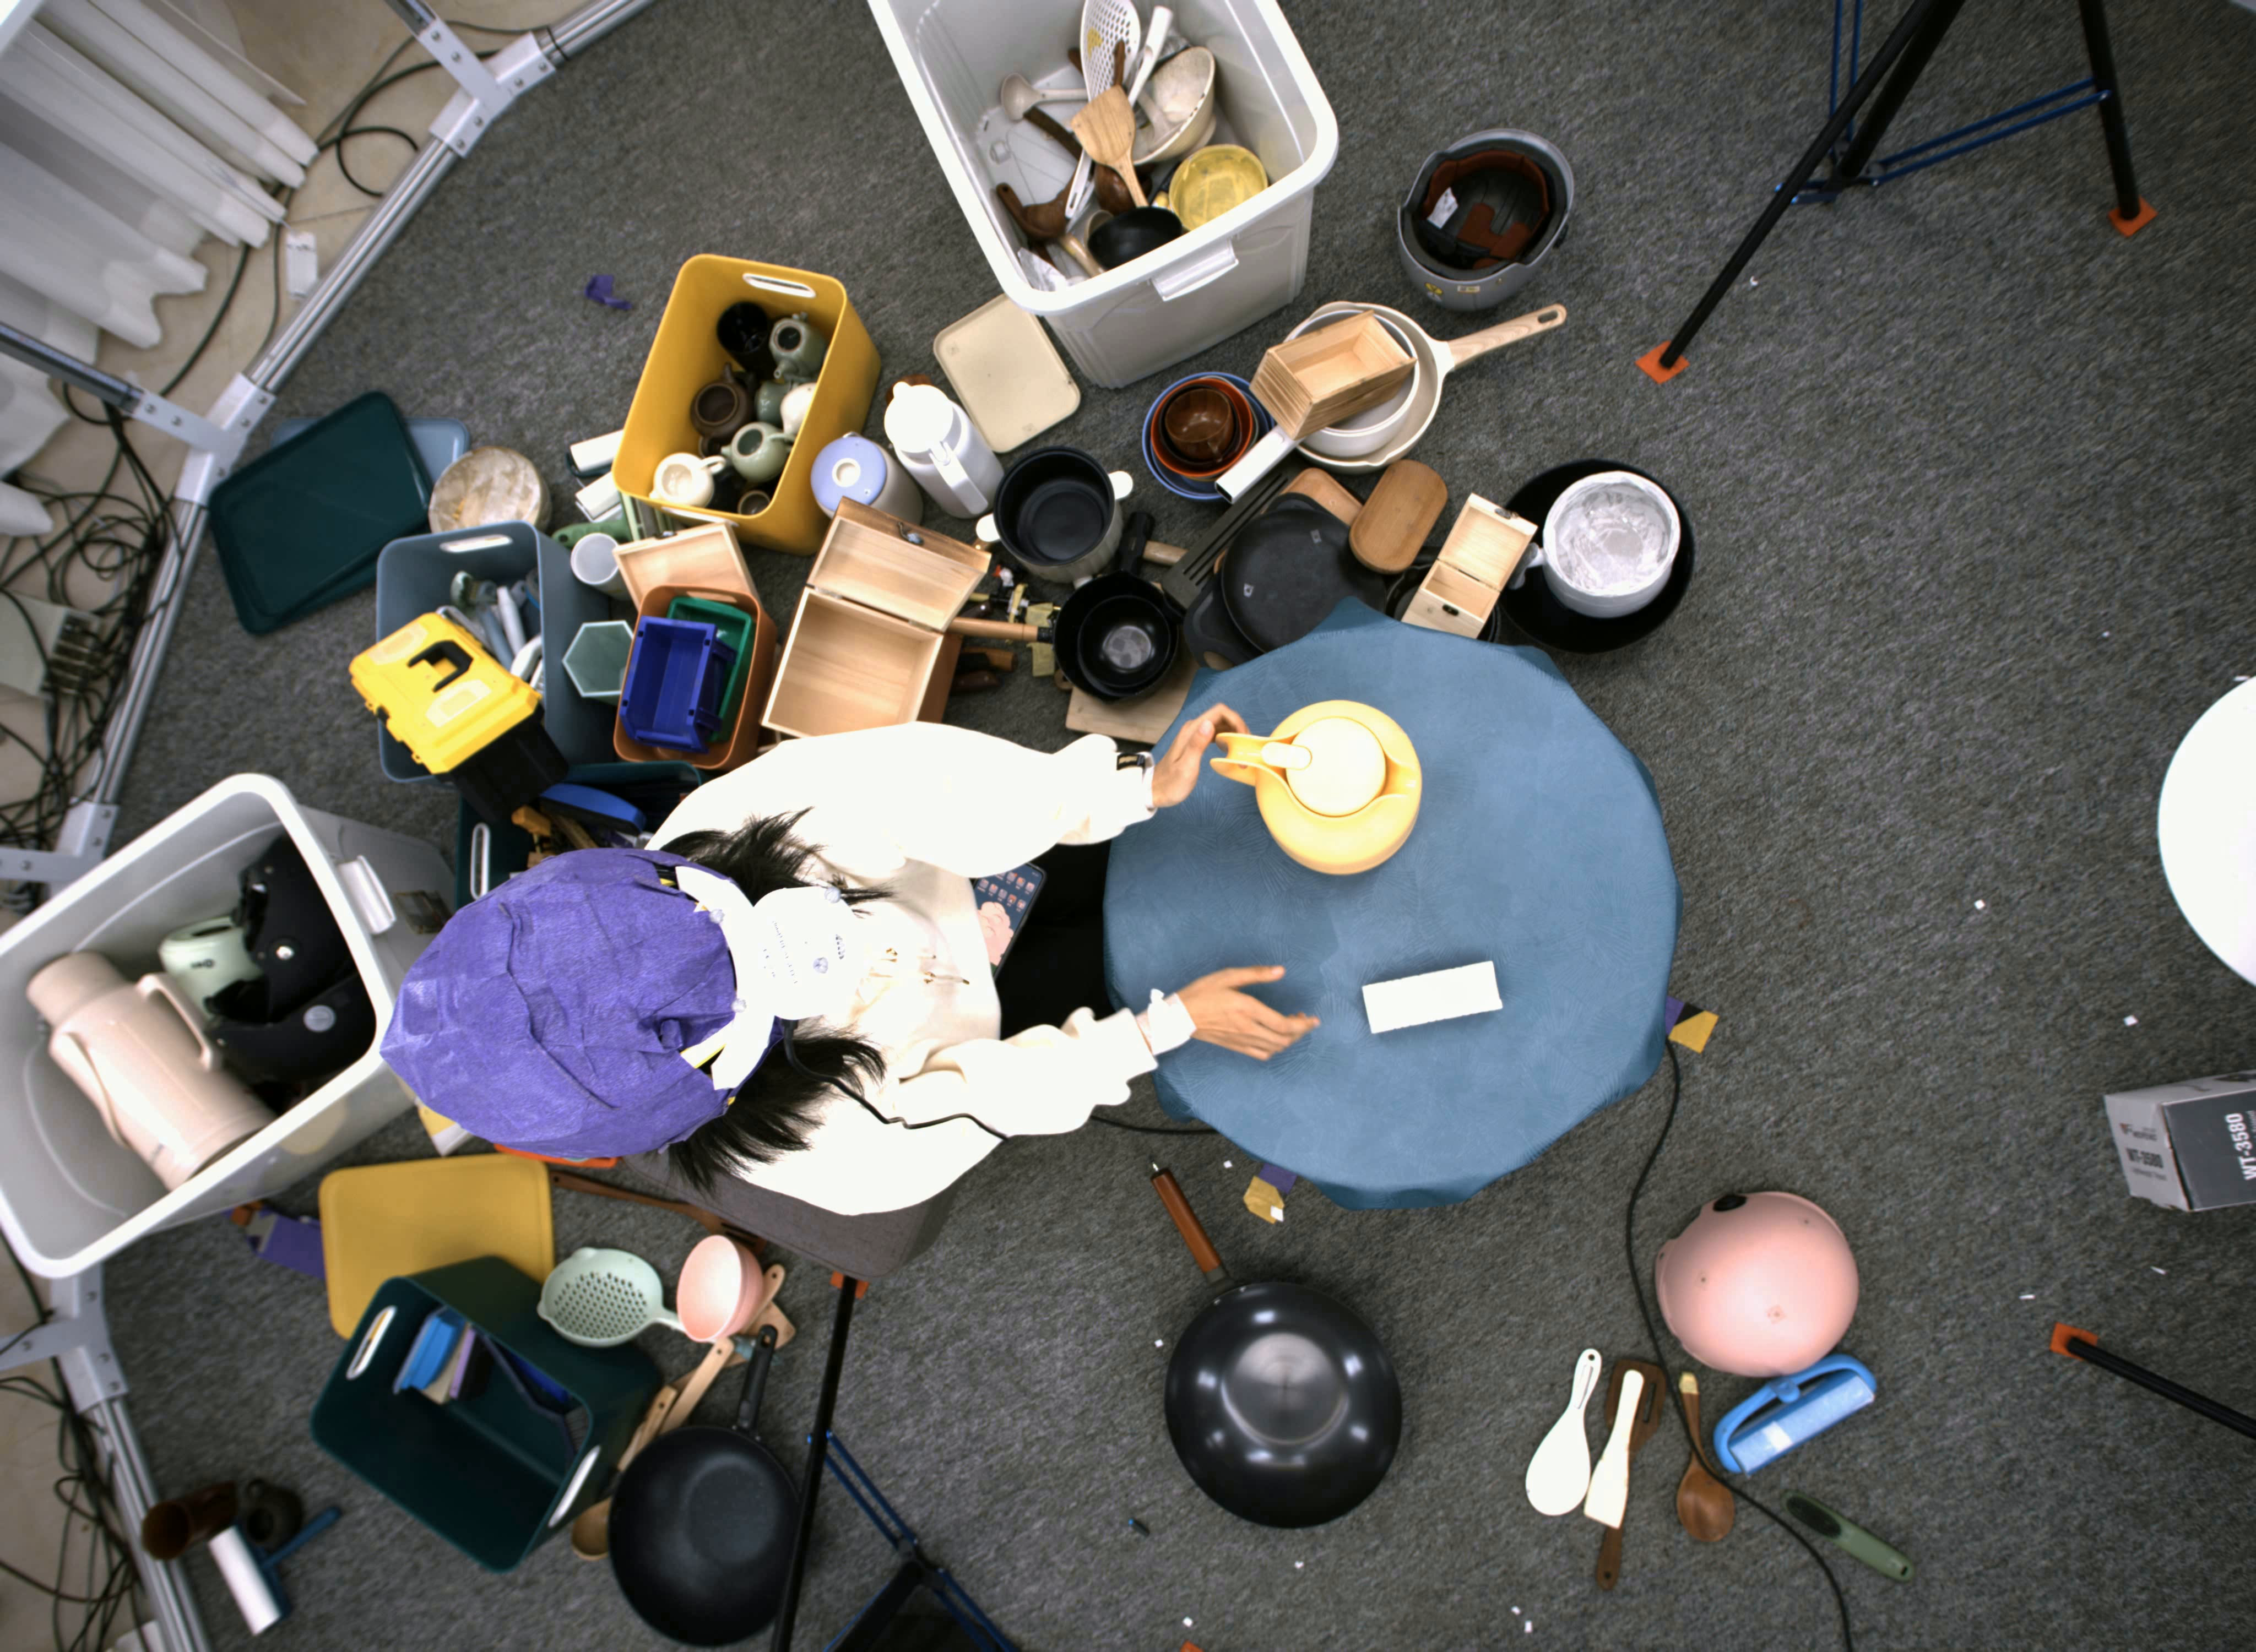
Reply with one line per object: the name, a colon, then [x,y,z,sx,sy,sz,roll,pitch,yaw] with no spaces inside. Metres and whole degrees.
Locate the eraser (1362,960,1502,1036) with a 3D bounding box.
eraser: [0.312,0.175,1.423,0.135,0.046,0.049,-15,86,8]

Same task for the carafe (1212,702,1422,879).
carafe: [0.186,-0.045,1.348,0.202,0.261,0.162,14,84,10]
